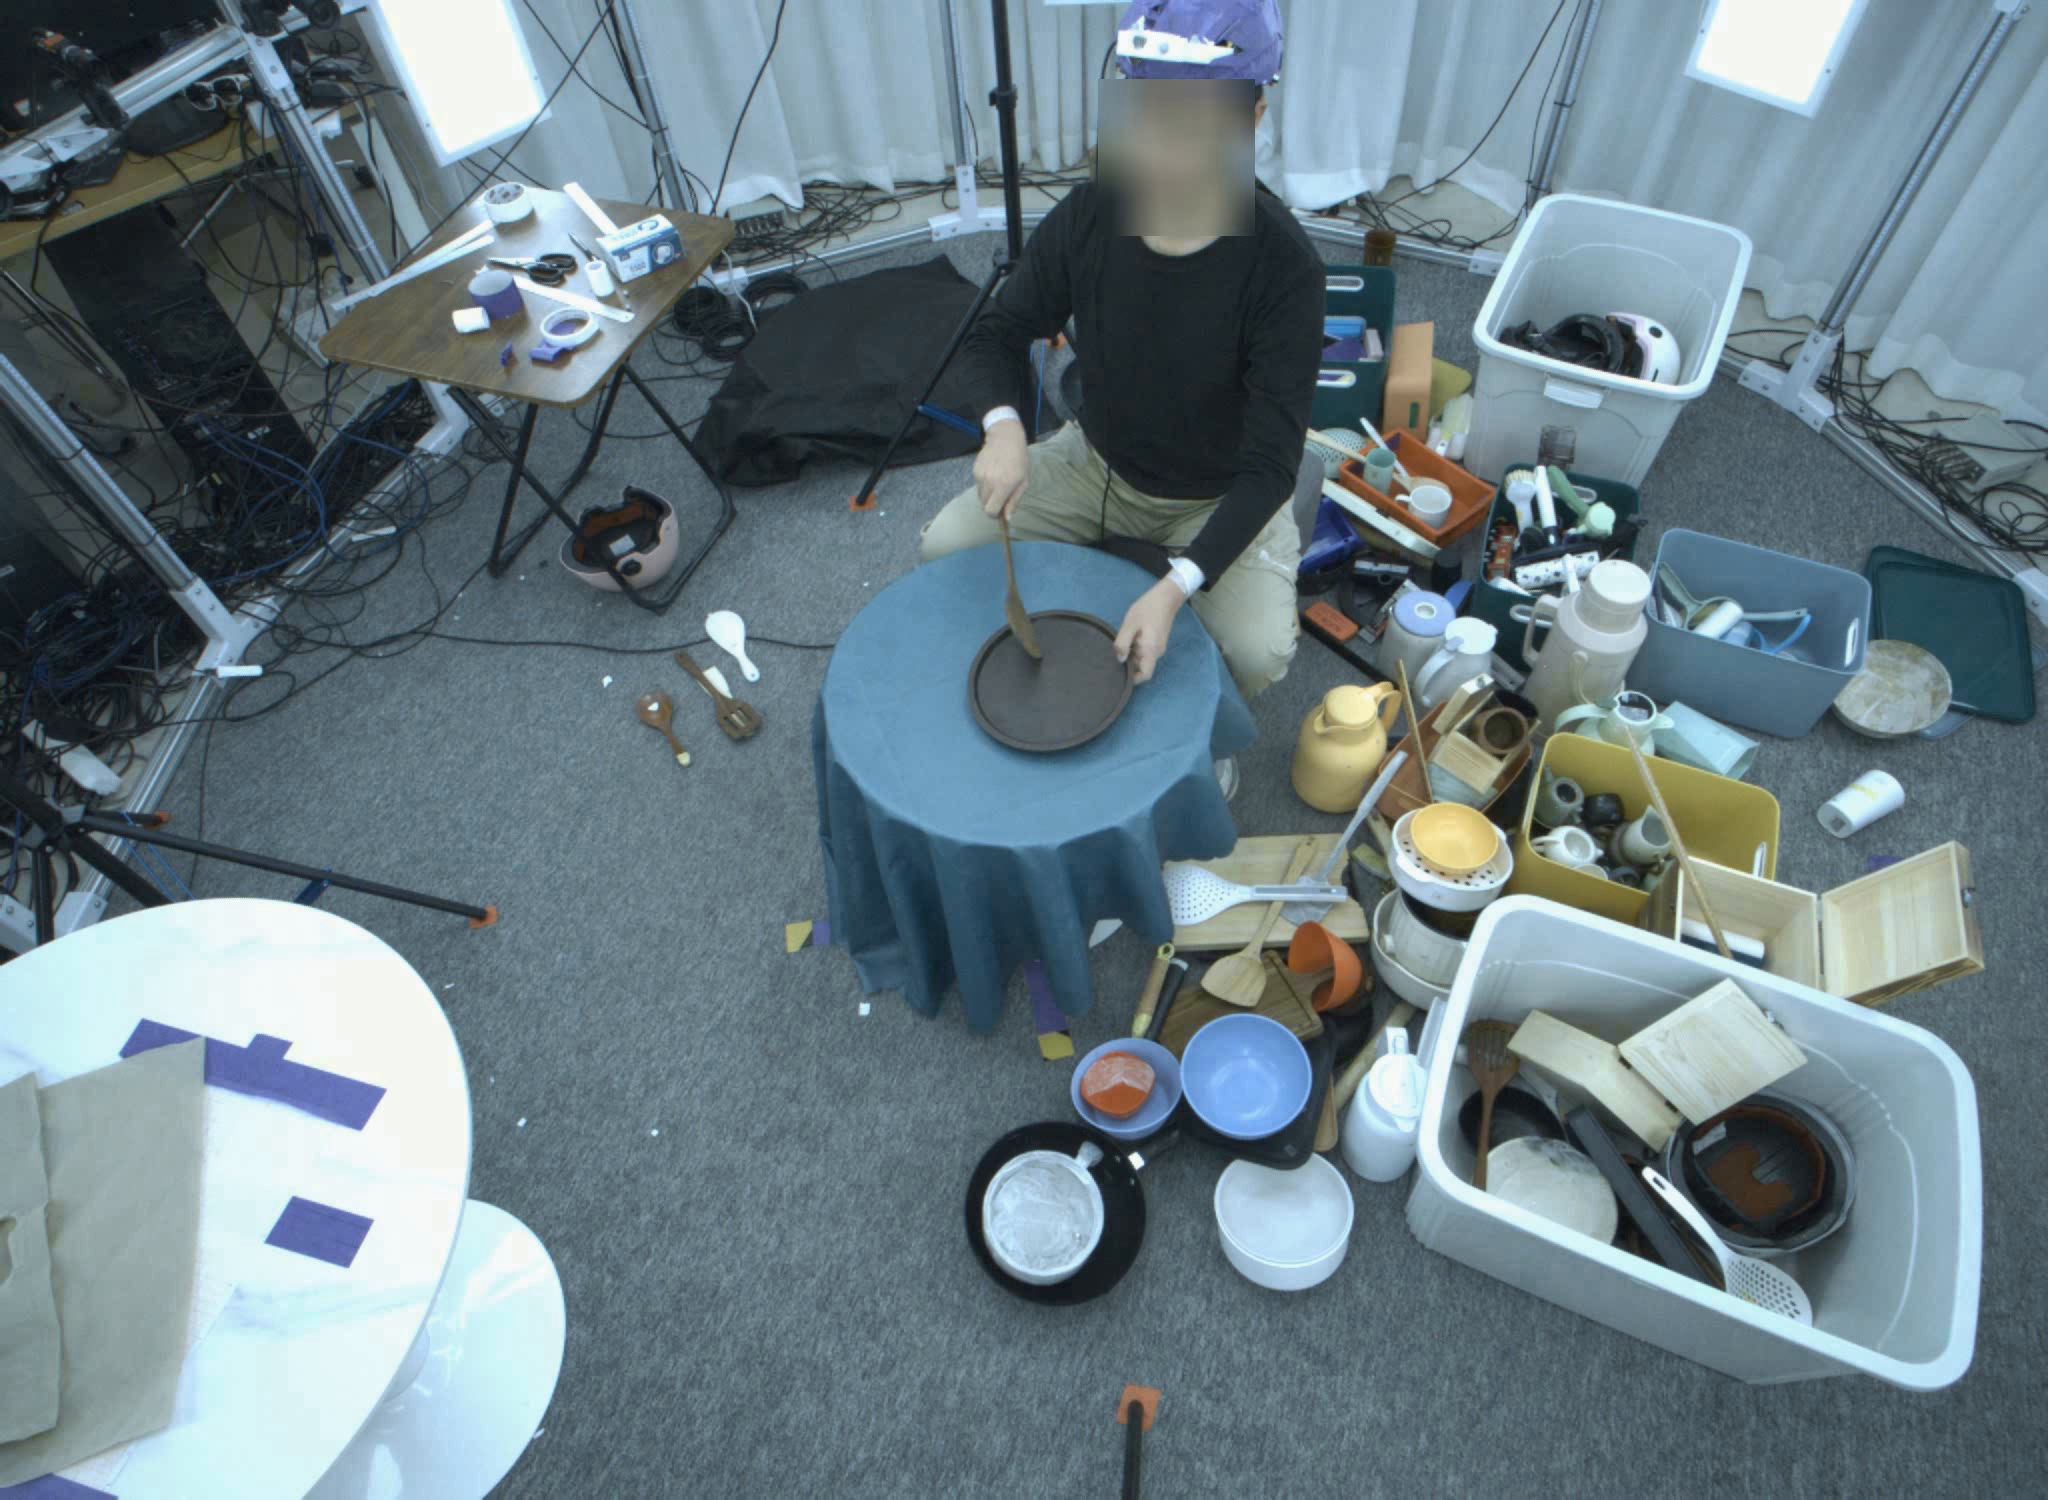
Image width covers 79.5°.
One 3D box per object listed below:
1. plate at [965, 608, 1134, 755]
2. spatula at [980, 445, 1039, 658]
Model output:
[{"bbox_3d":[0.038,-0.103,1.826,0.253,0.029,0.252,-4,61,8],"label":"plate"},{"bbox_3d":[-0.032,-0.315,1.873,0.015,0.098,0.382,-18,67,20],"label":"spatula"}]
